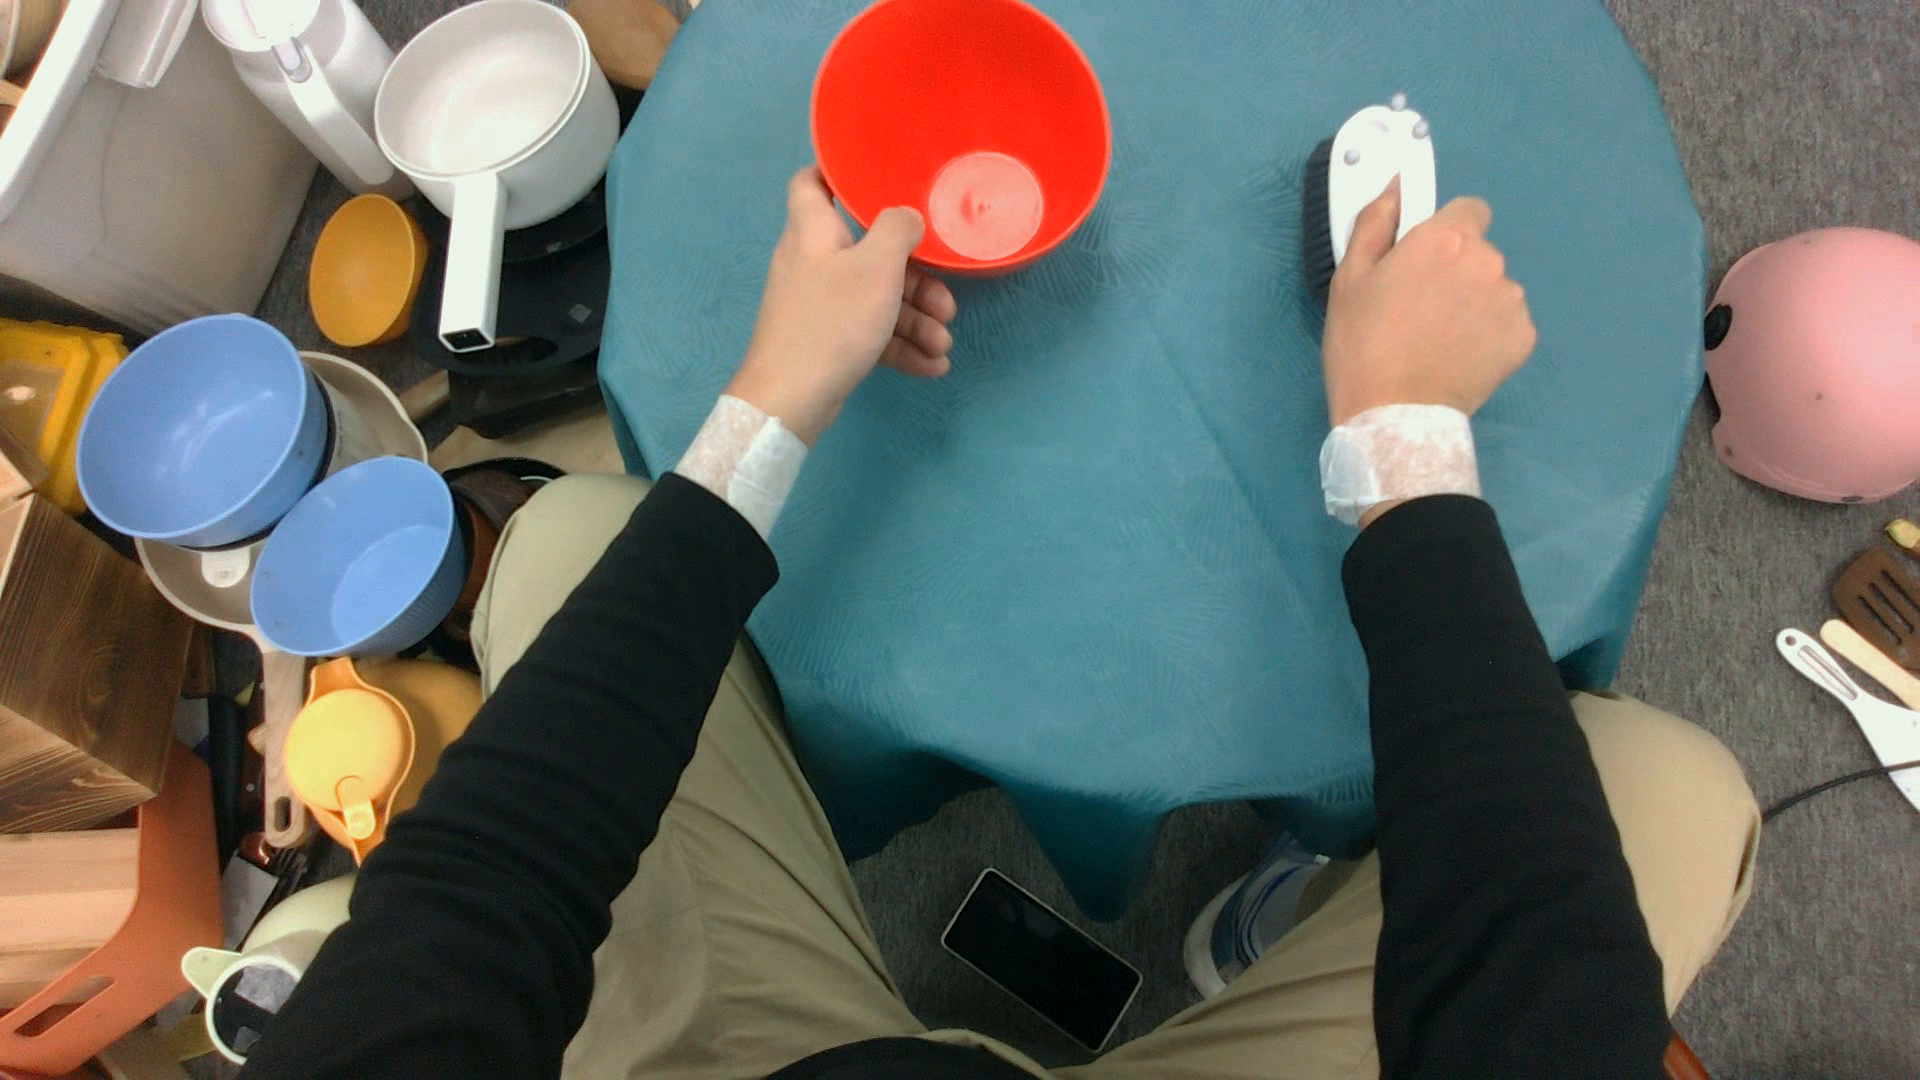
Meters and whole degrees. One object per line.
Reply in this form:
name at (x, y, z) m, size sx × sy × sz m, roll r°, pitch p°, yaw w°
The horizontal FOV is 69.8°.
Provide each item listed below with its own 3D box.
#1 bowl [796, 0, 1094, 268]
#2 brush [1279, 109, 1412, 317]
bowl at (-0.006, -0.201, 0.722) m, size 0.148 × 0.104 × 0.148 m, roll 0°, pitch 79°, yaw 0°
brush at (0.204, -0.173, 0.708) m, size 0.050 × 0.072 × 0.099 m, roll 4°, pitch 79°, yaw -17°
